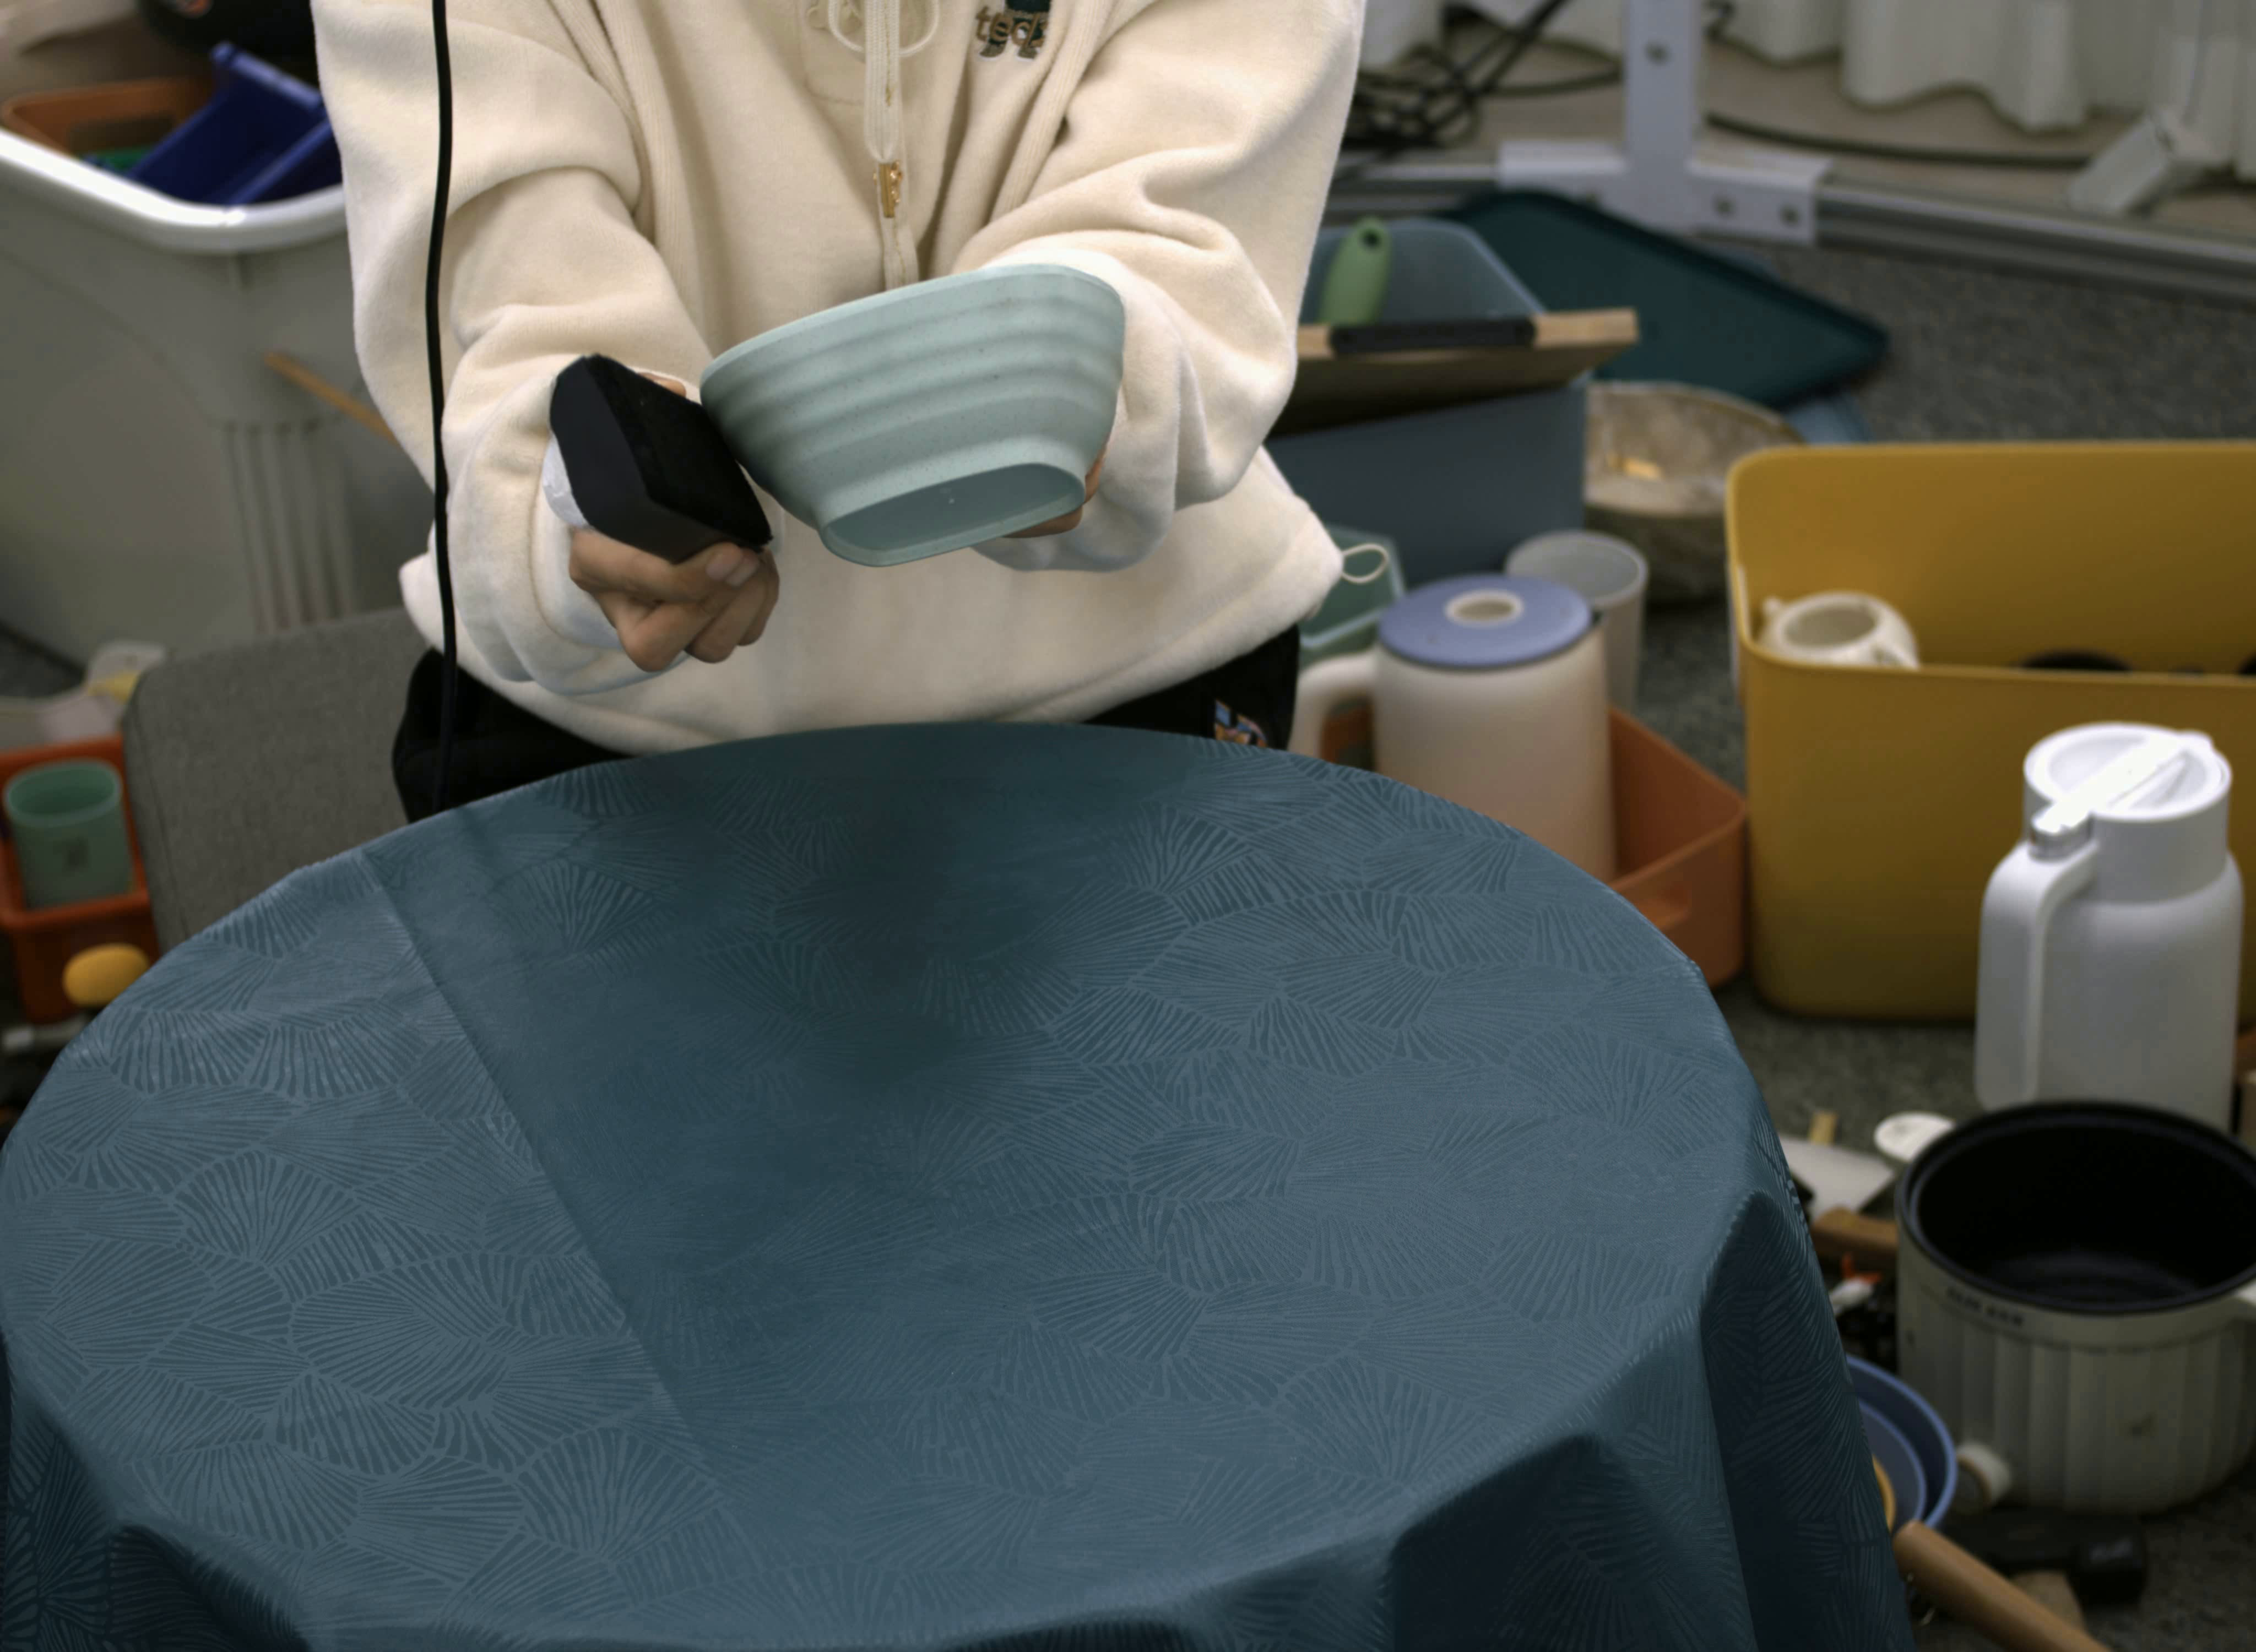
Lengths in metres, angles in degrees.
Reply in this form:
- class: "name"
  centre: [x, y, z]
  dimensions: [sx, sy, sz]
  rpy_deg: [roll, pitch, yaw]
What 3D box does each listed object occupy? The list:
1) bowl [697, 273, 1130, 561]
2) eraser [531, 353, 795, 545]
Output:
- class: "bowl"
  centre: [-0.064, -0.127, 1.815]
  dimensions: [0.151, 0.059, 0.150]
  rpy_deg: [-11, -11, -2]
- class: "eraser"
  centre: [-0.144, -0.118, 1.771]
  dimensions: [0.030, 0.054, 0.126]
  rpy_deg: [-36, -9, 13]
